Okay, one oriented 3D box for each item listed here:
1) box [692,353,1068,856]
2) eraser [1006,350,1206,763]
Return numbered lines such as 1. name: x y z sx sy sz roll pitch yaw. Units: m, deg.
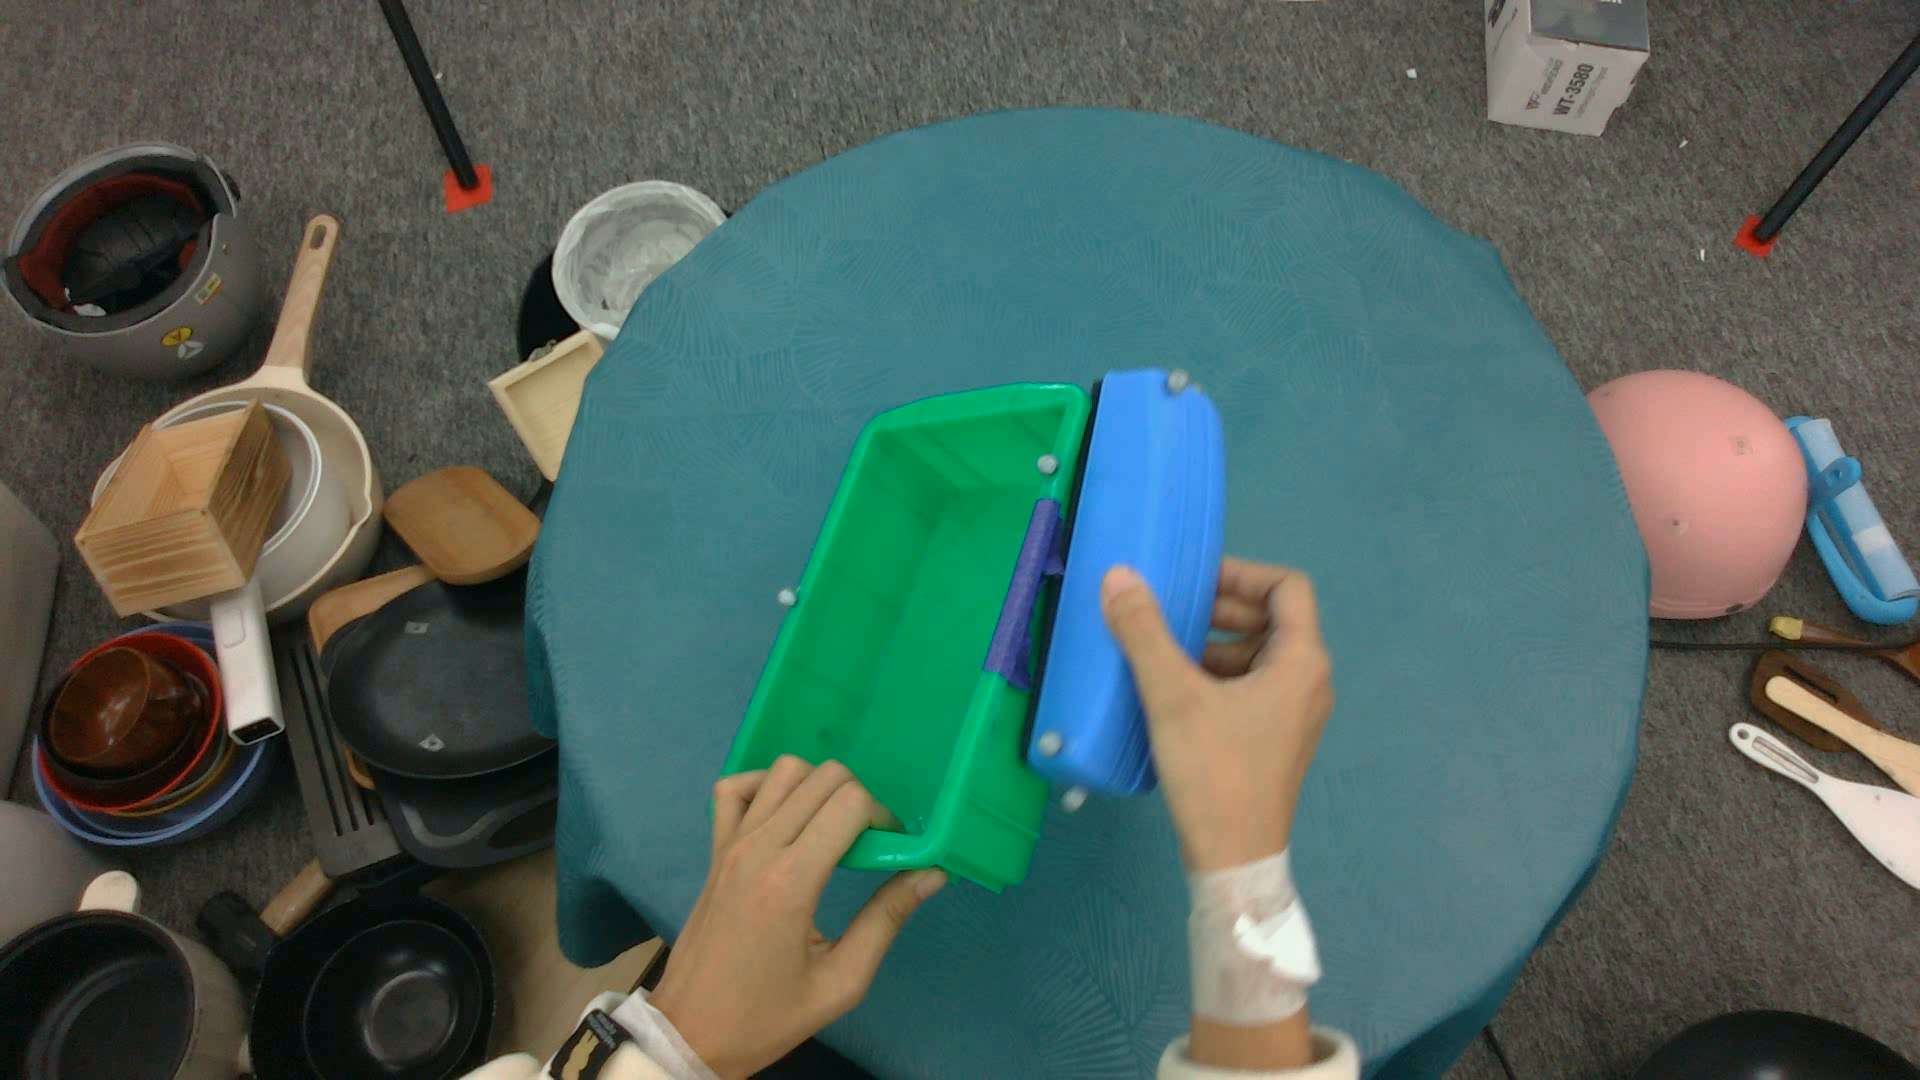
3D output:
1. box: -0.018 0.028 0.579 0.138 0.065 0.211 -3 60 42
2. eraser: 0.063 0.006 0.537 0.047 0.054 0.162 -2 71 42
